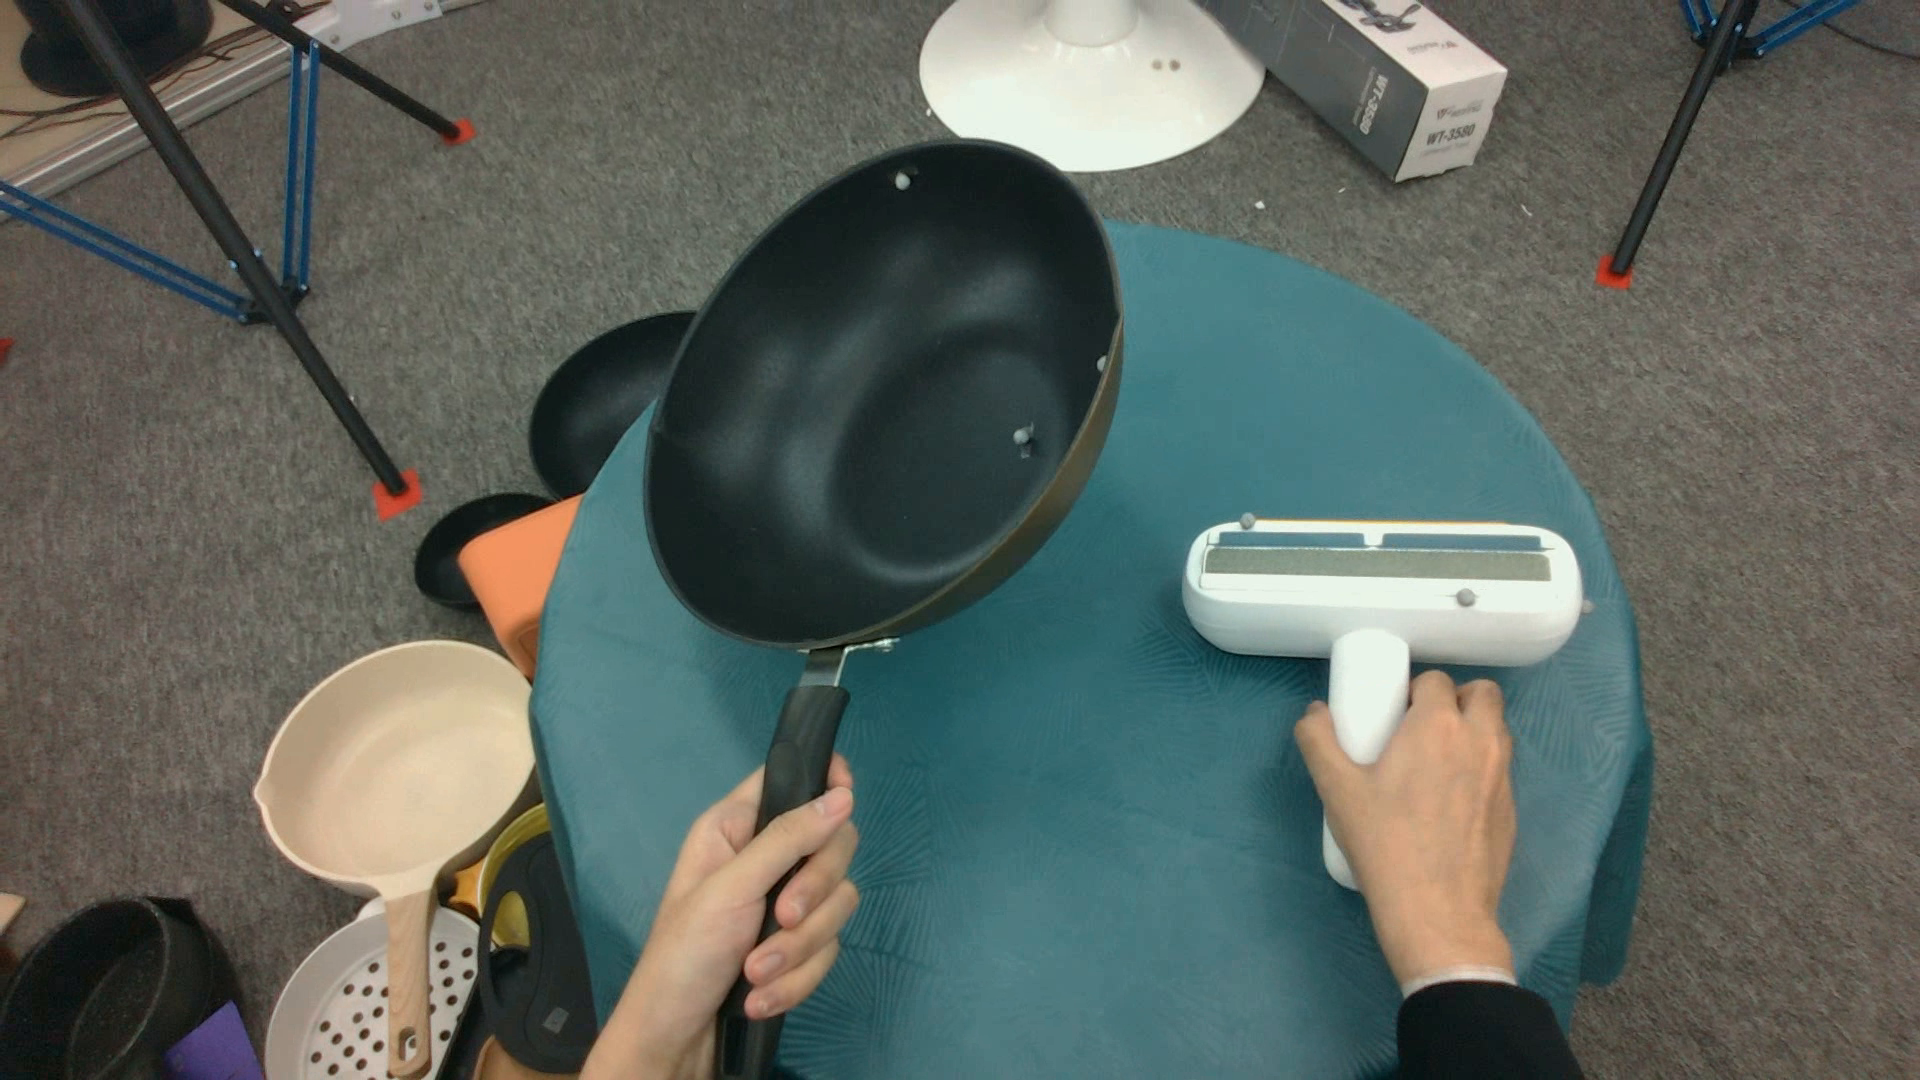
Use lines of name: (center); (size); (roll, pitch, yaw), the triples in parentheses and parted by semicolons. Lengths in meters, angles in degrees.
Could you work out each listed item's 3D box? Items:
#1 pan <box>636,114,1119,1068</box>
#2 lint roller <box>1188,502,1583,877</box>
pan: (-0.045, 0.010, 0.662); (0.287, 0.087, 0.465); (-8, 63, 32)
lint roller: (0.200, 0.069, 0.682); (0.192, 0.074, 0.193); (7, 55, 16)
